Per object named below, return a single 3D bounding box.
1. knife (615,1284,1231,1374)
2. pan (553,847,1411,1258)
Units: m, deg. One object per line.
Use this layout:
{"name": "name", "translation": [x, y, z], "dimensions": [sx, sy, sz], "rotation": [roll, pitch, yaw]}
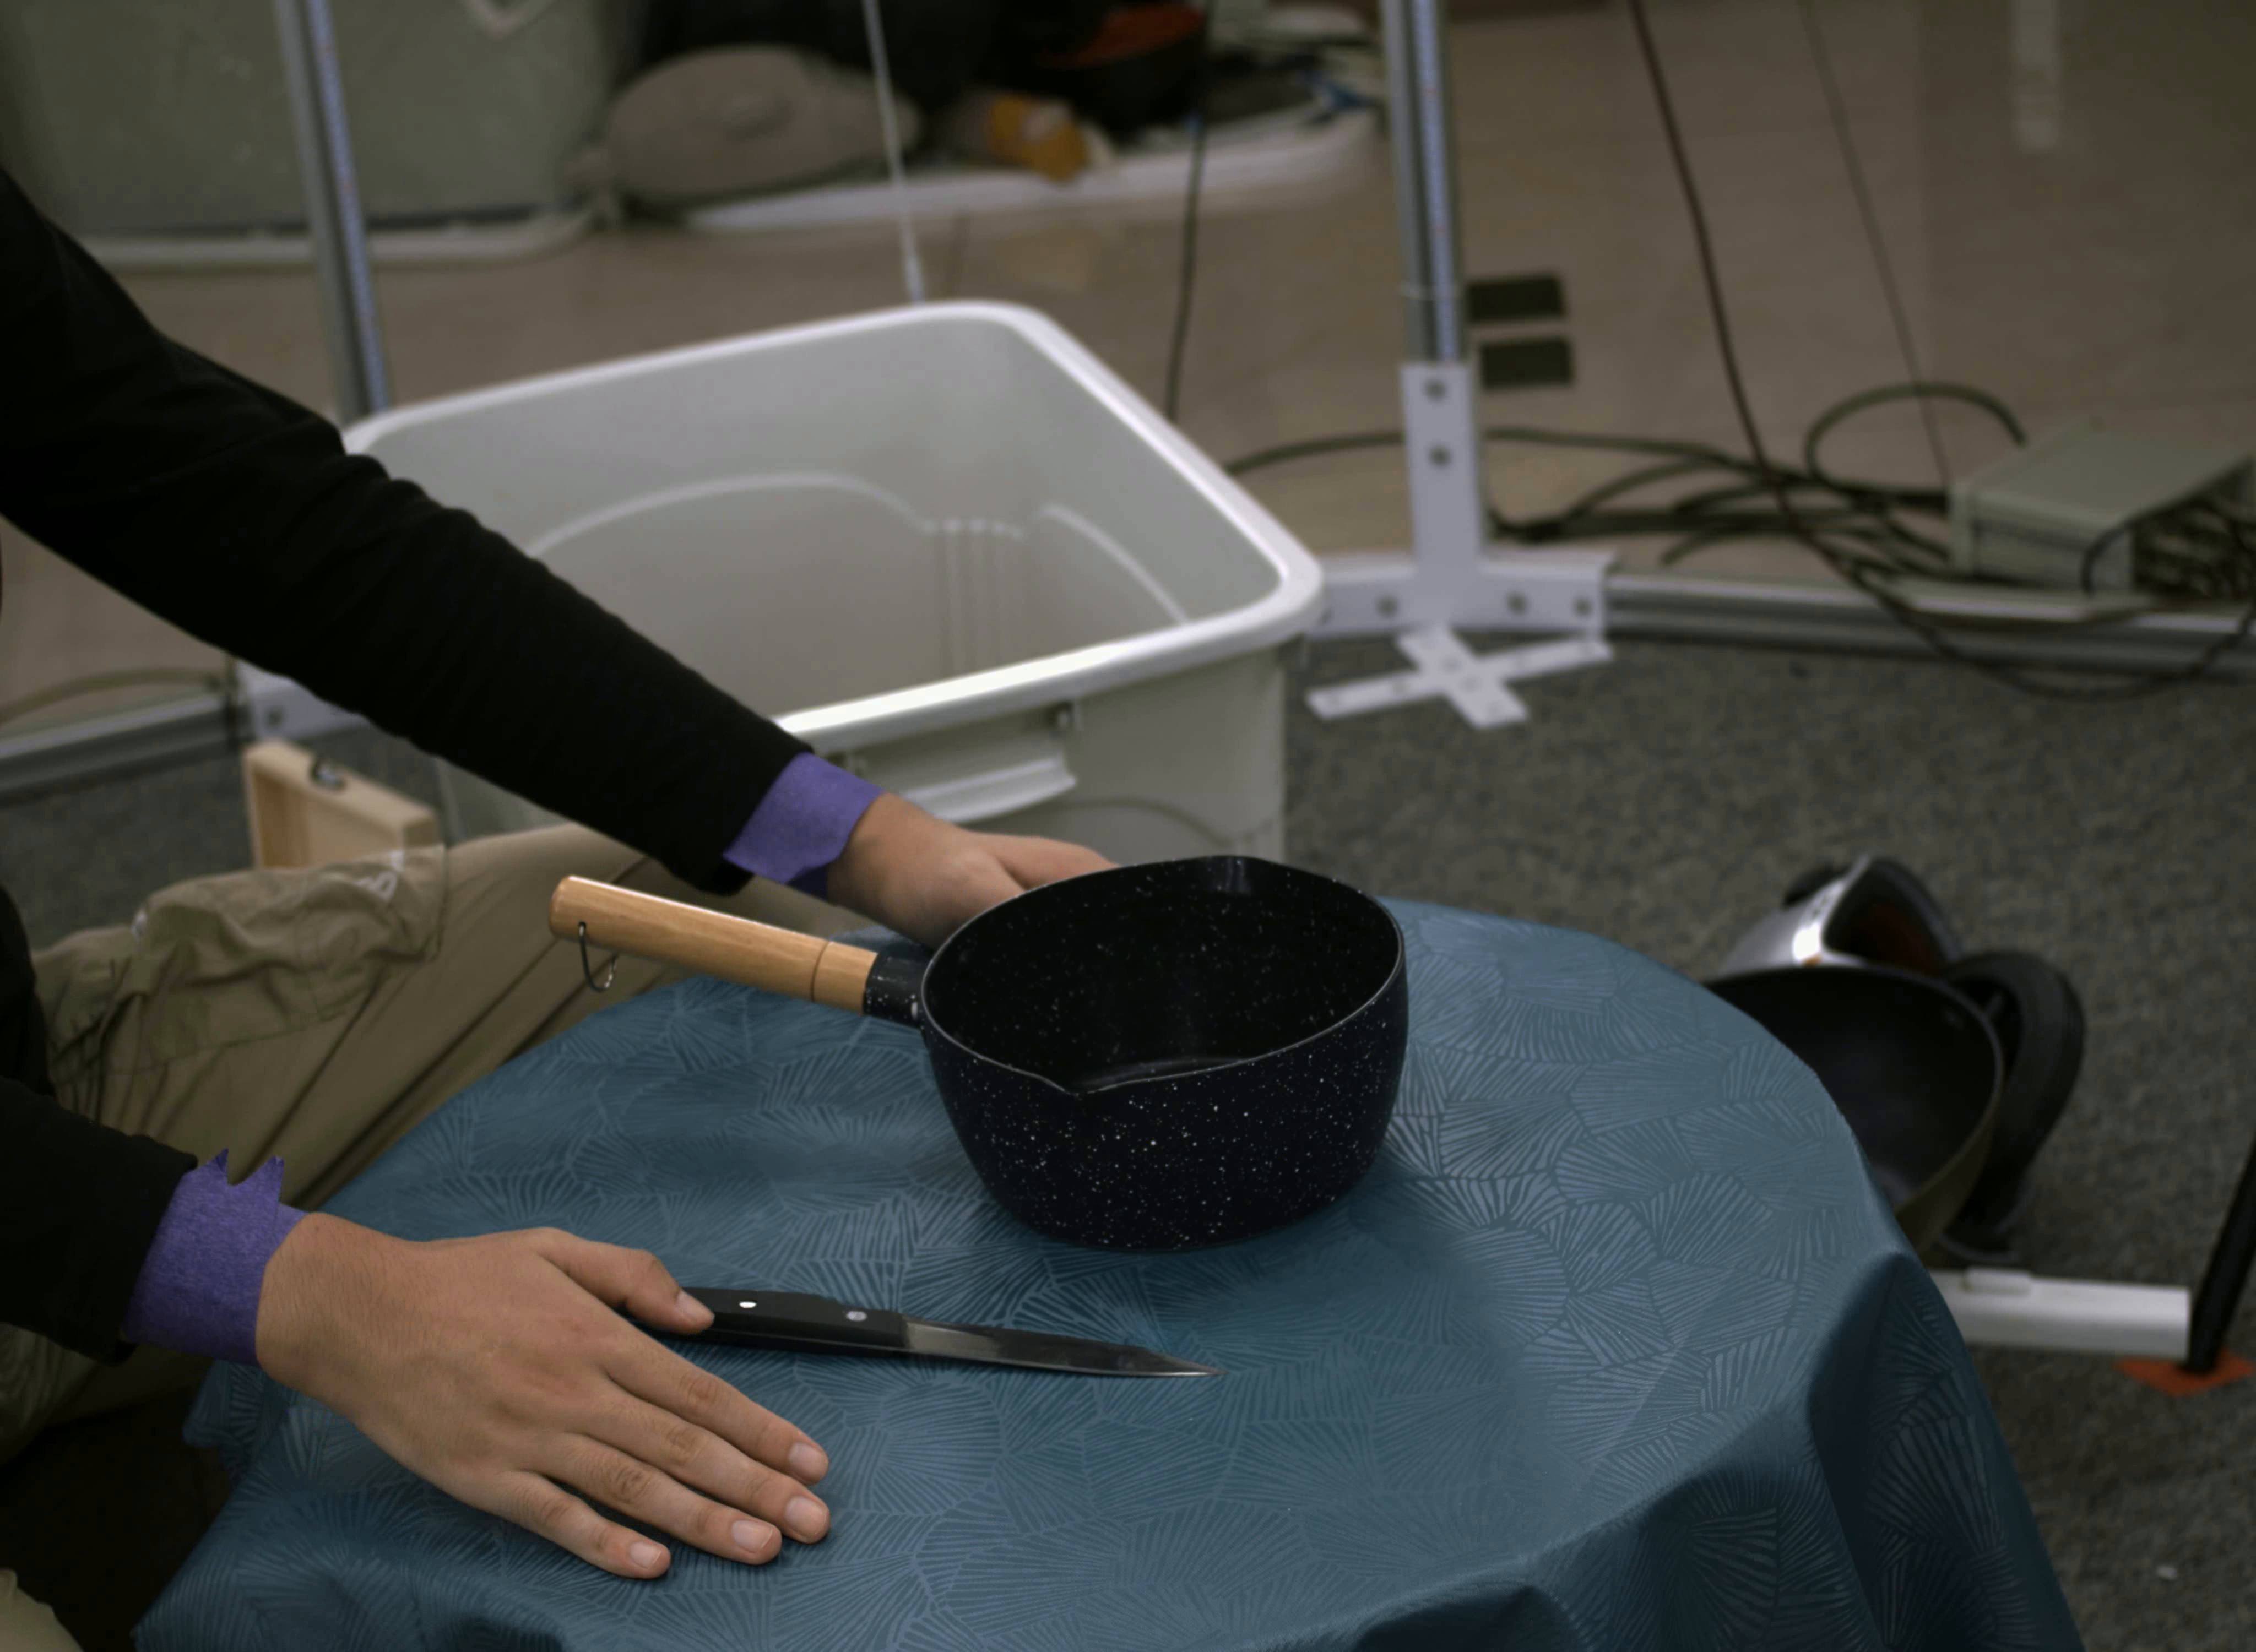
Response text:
{"name": "knife", "translation": [-0.077, 0.186, 2.056], "dimensions": [0.237, 0.016, 0.024], "rotation": [5, 23, 17]}
{"name": "pan", "translation": [-0.059, 0.077, 2.170], "dimensions": [0.342, 0.110, 0.204], "rotation": [3, 27, 18]}
